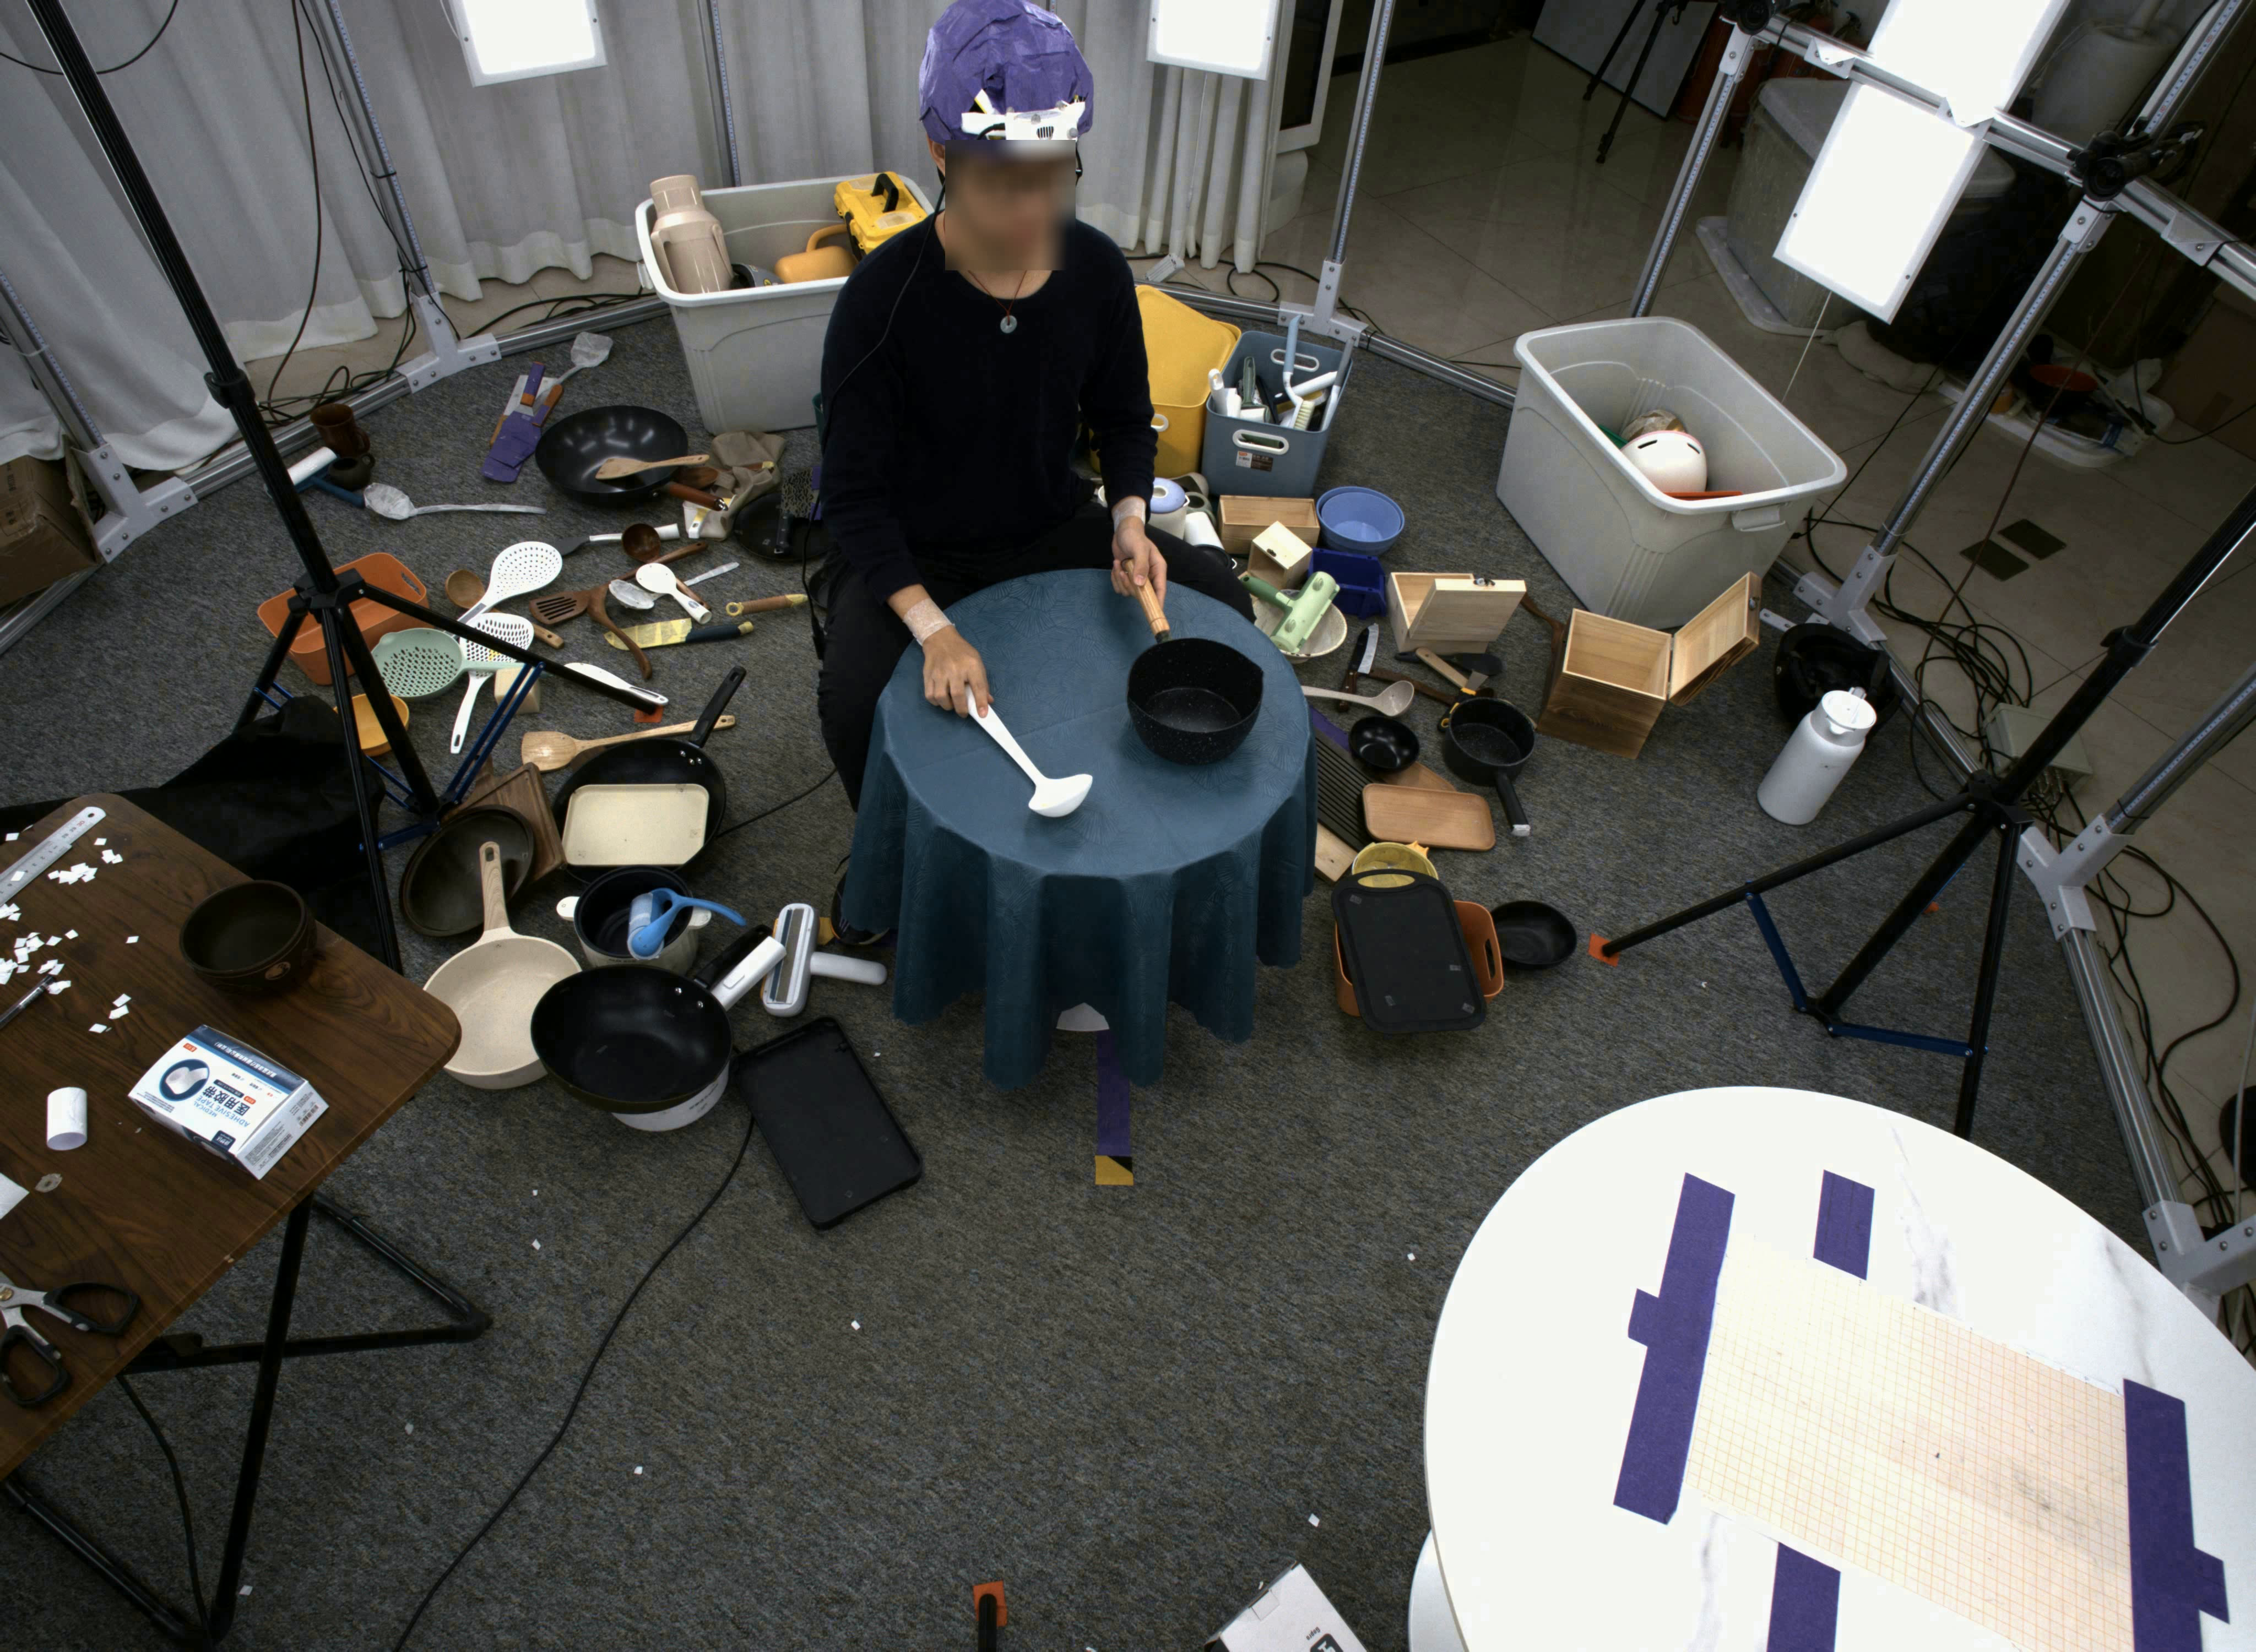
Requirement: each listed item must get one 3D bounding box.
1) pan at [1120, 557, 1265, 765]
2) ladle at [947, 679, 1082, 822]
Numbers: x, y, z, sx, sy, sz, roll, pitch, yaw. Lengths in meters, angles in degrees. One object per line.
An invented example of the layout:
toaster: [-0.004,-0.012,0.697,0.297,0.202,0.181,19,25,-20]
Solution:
pan: [0.061,-0.232,1.805,0.207,0.105,0.351,-15,53,-15]
ladle: [-0.161,-0.109,1.712,0.090,0.068,0.299,-34,58,-10]
